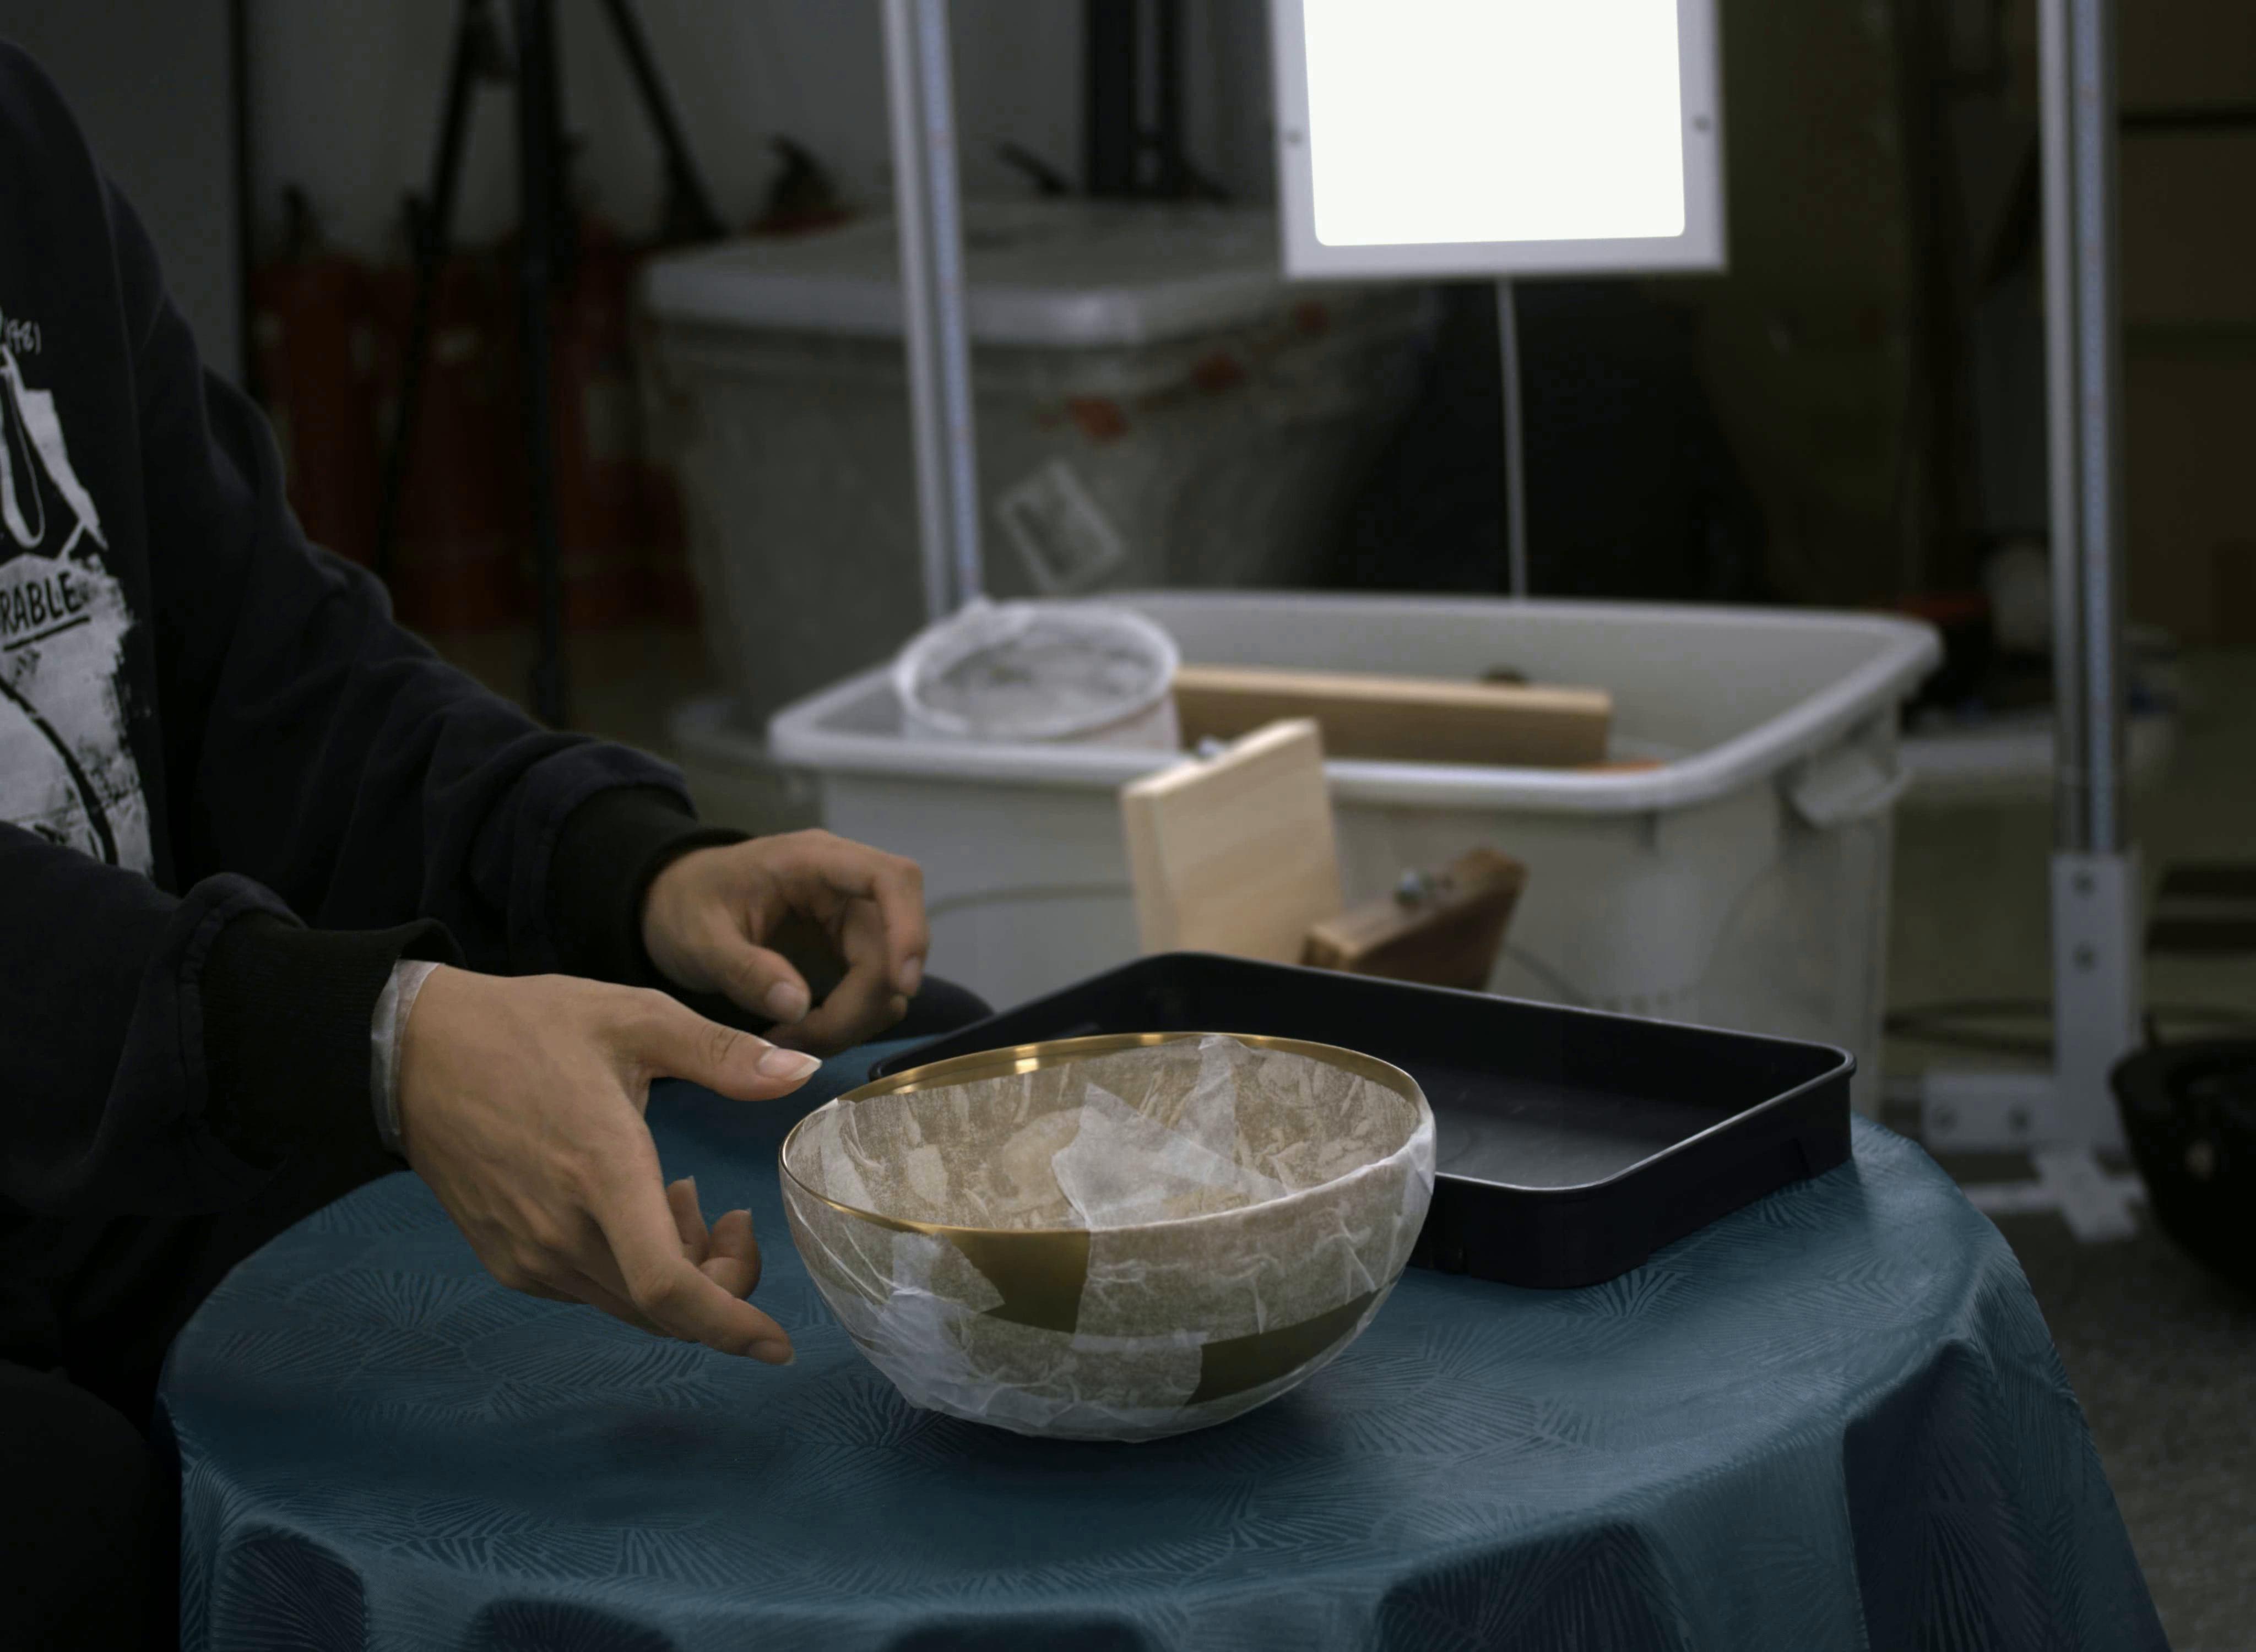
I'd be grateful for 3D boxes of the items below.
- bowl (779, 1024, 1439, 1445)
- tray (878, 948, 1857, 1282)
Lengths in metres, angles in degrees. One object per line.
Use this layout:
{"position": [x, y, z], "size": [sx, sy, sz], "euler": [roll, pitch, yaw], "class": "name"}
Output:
{"position": [-0.005, 0.132, 1.683], "size": [0.214, 0.095, 0.214], "euler": [-6, 15, 0], "class": "bowl"}
{"position": [0.081, 0.096, 1.909], "size": [0.325, 0.037, 0.179], "euler": [6, 19, 42], "class": "tray"}
